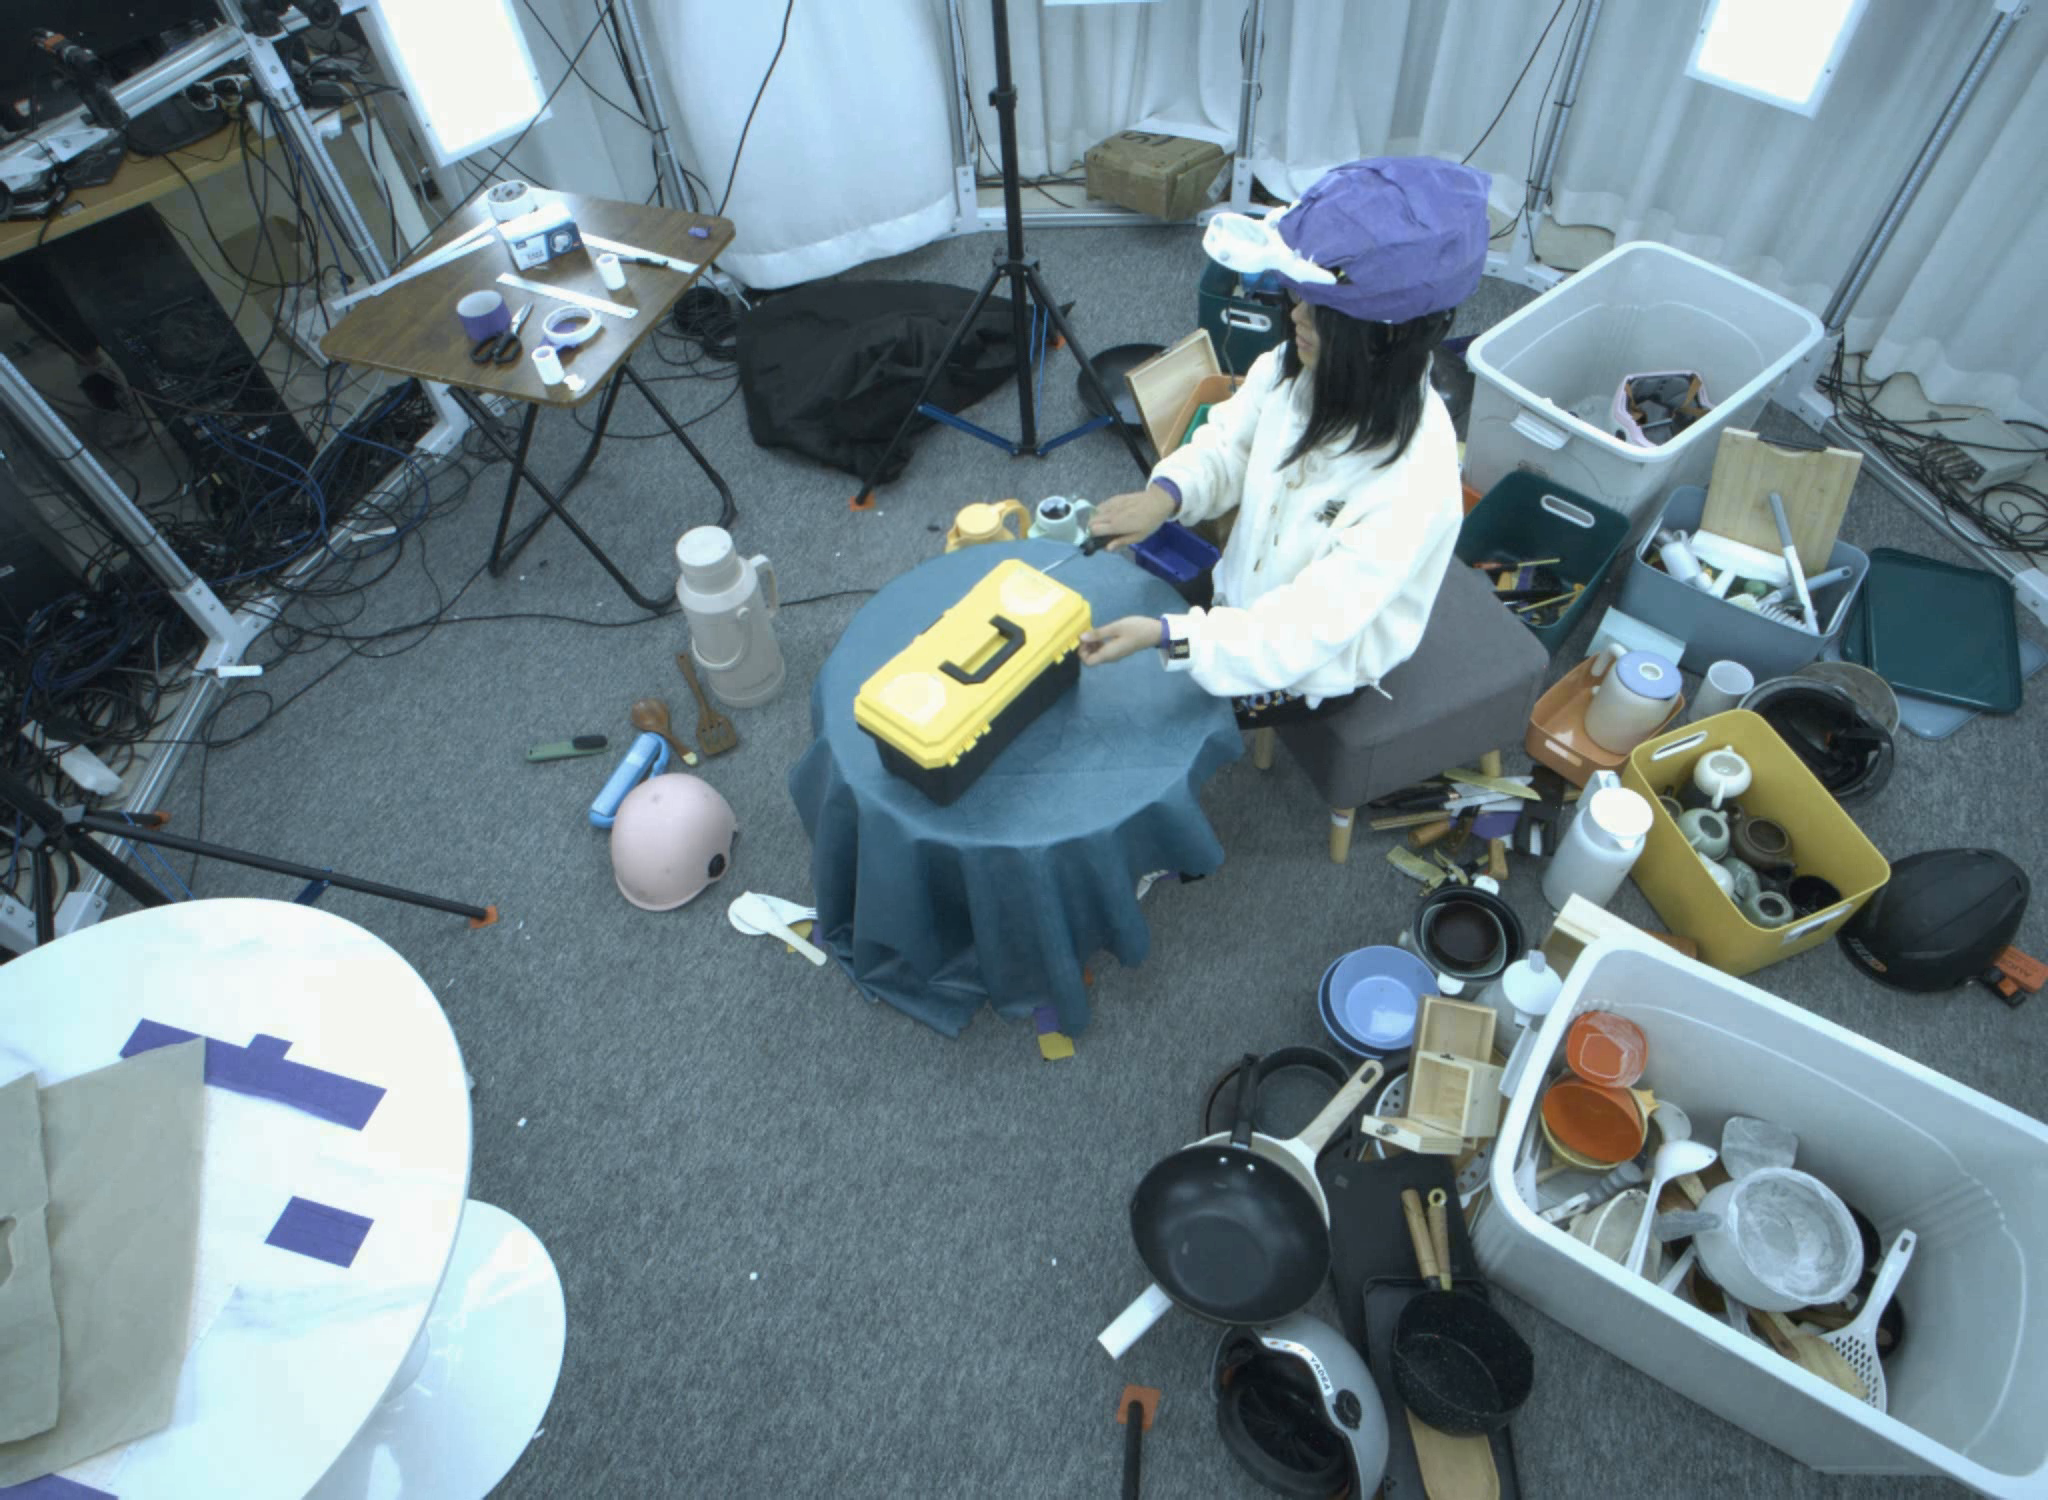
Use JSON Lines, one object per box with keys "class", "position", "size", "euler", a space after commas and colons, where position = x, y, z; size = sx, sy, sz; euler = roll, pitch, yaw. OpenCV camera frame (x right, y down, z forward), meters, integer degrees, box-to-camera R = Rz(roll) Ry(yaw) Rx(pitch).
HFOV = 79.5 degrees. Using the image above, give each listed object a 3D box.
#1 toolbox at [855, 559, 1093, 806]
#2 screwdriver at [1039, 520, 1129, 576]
{"class": "toolbox", "position": [-0.065, -0.096, 1.751], "size": [0.178, 0.175, 0.353], "euler": [34, 63, 23]}
{"class": "screwdriver", "position": [0.087, -0.302, 1.829], "size": [0.031, 0.031, 0.198], "euler": [38, 49, 26]}
